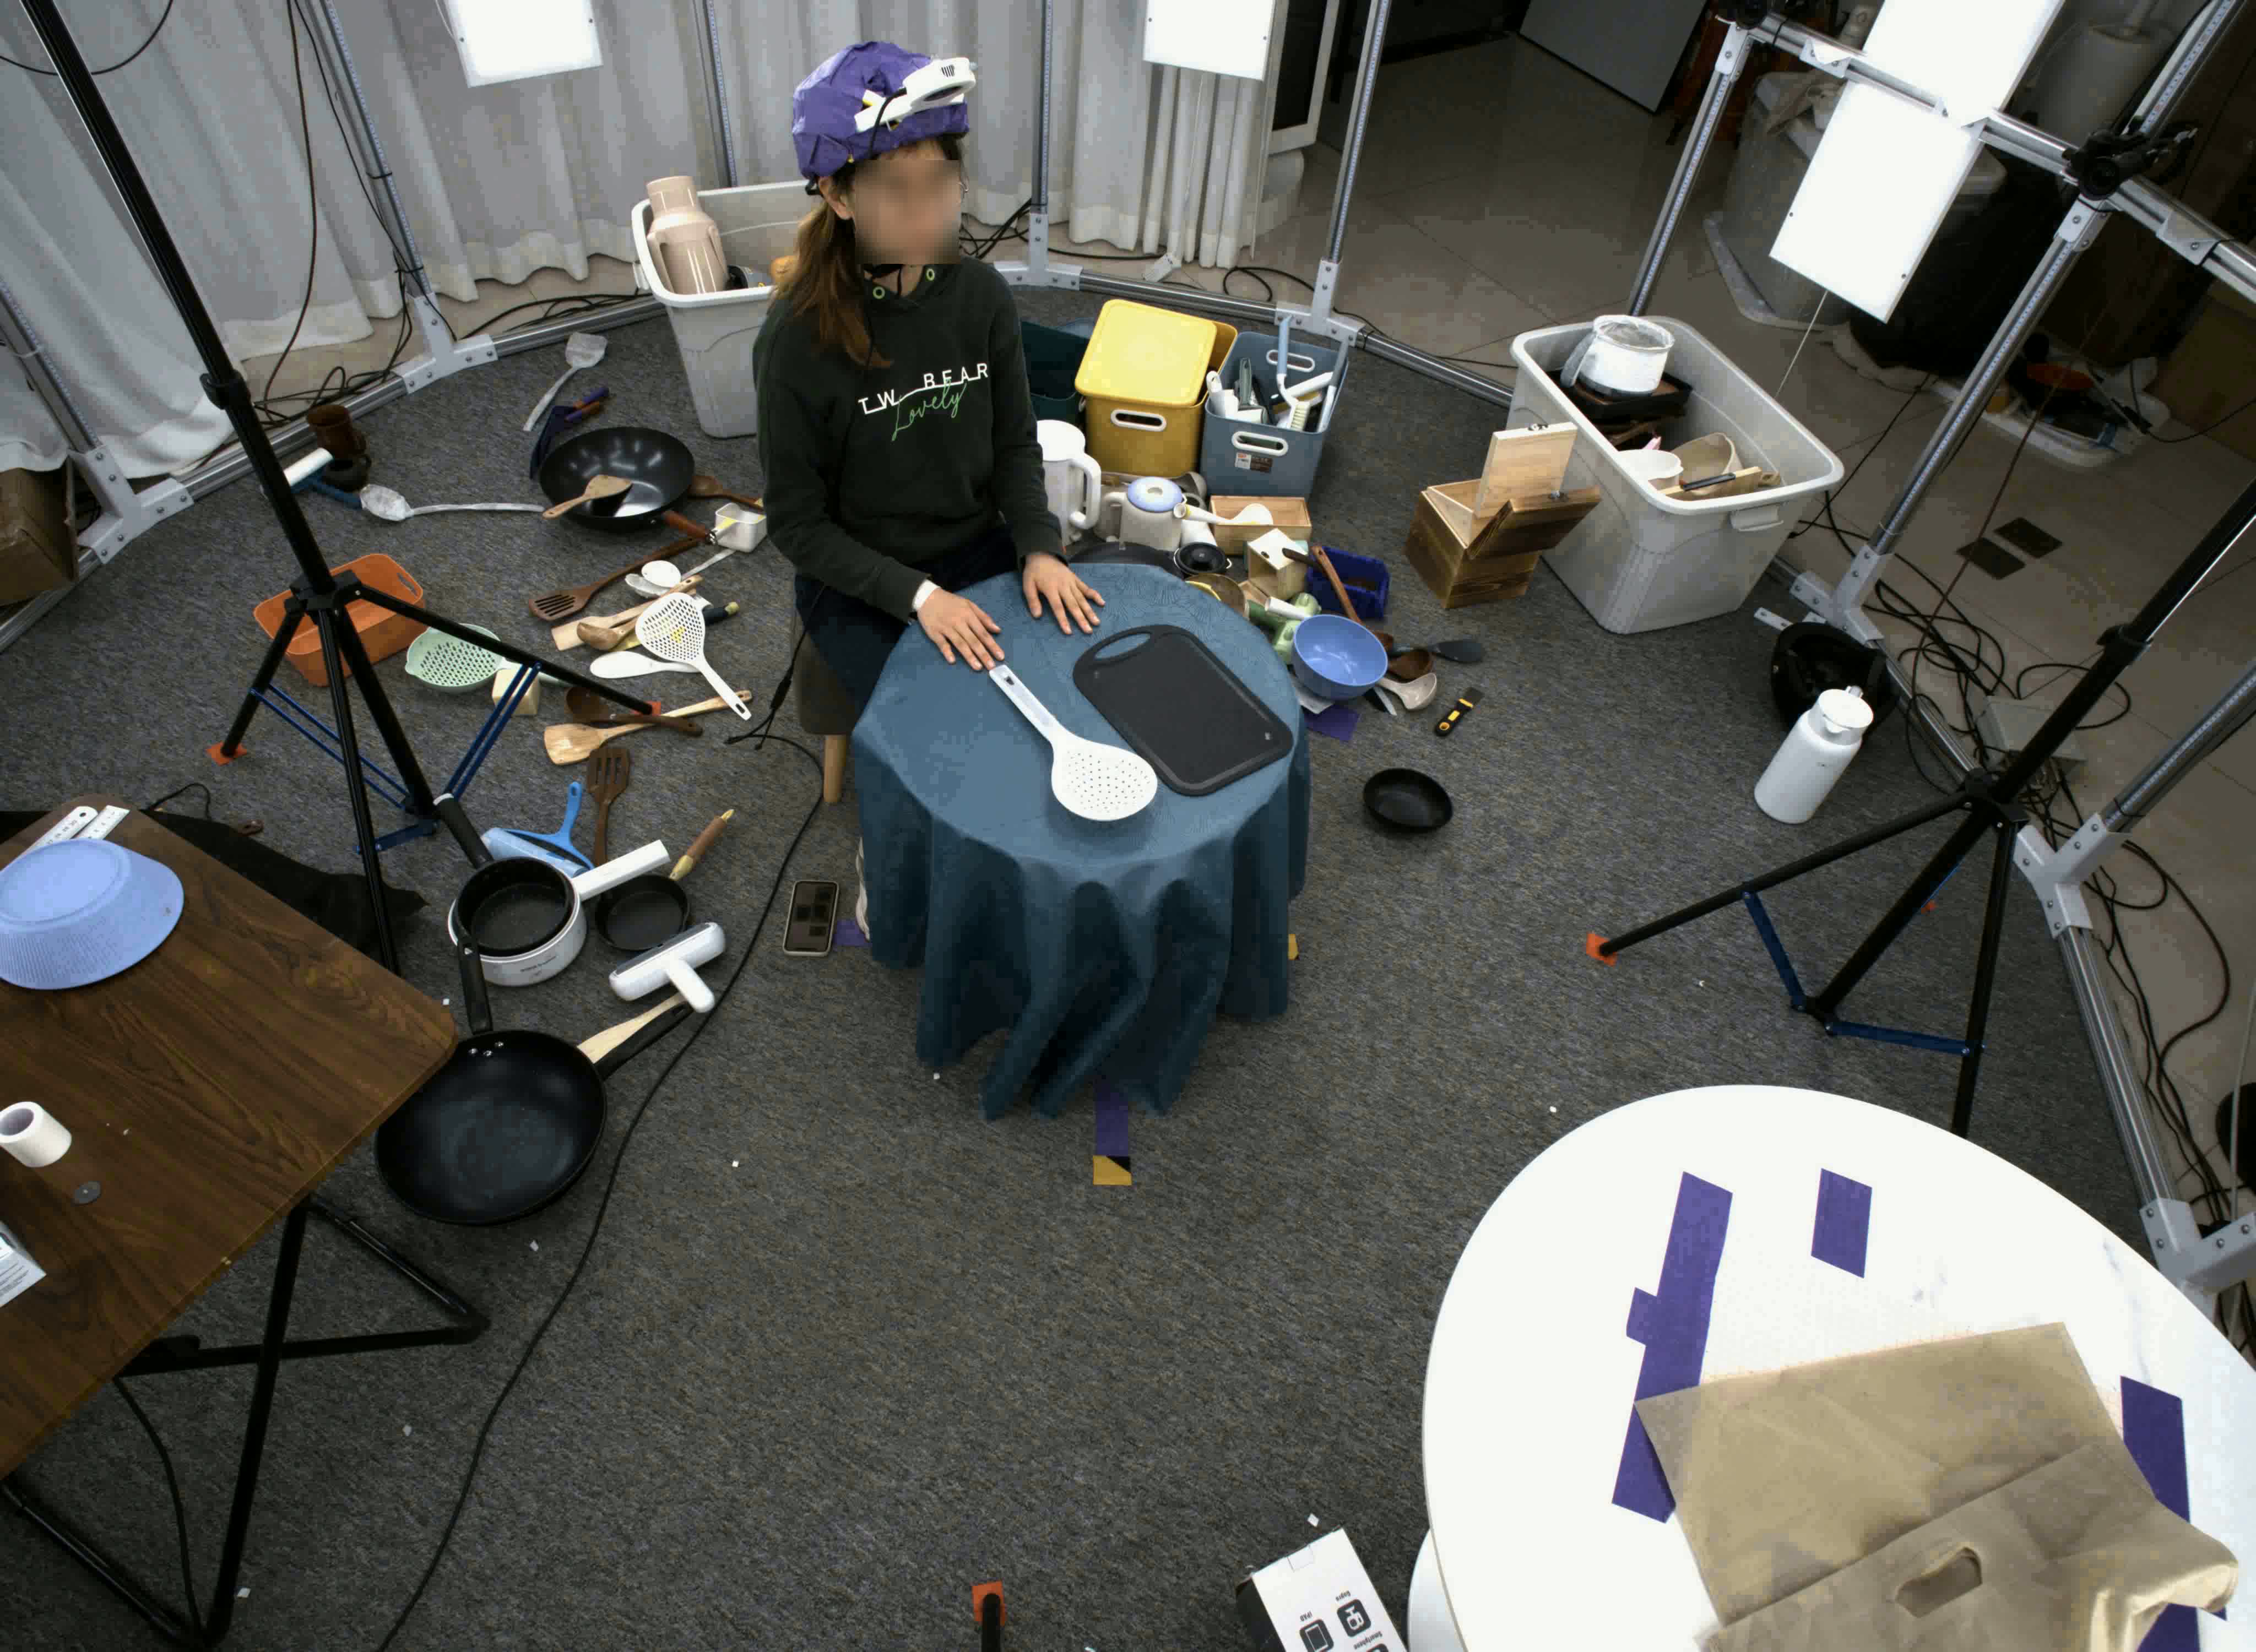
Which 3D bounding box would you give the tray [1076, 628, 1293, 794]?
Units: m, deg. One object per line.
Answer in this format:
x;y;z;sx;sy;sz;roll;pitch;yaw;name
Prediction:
0.073;-0.177;1.838;0.212;0.009;0.332;-25;54;-24;tray

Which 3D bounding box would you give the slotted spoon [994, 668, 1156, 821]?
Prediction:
-0.090;-0.117;1.750;0.136;0.044;0.357;-22;53;-24;slotted spoon
